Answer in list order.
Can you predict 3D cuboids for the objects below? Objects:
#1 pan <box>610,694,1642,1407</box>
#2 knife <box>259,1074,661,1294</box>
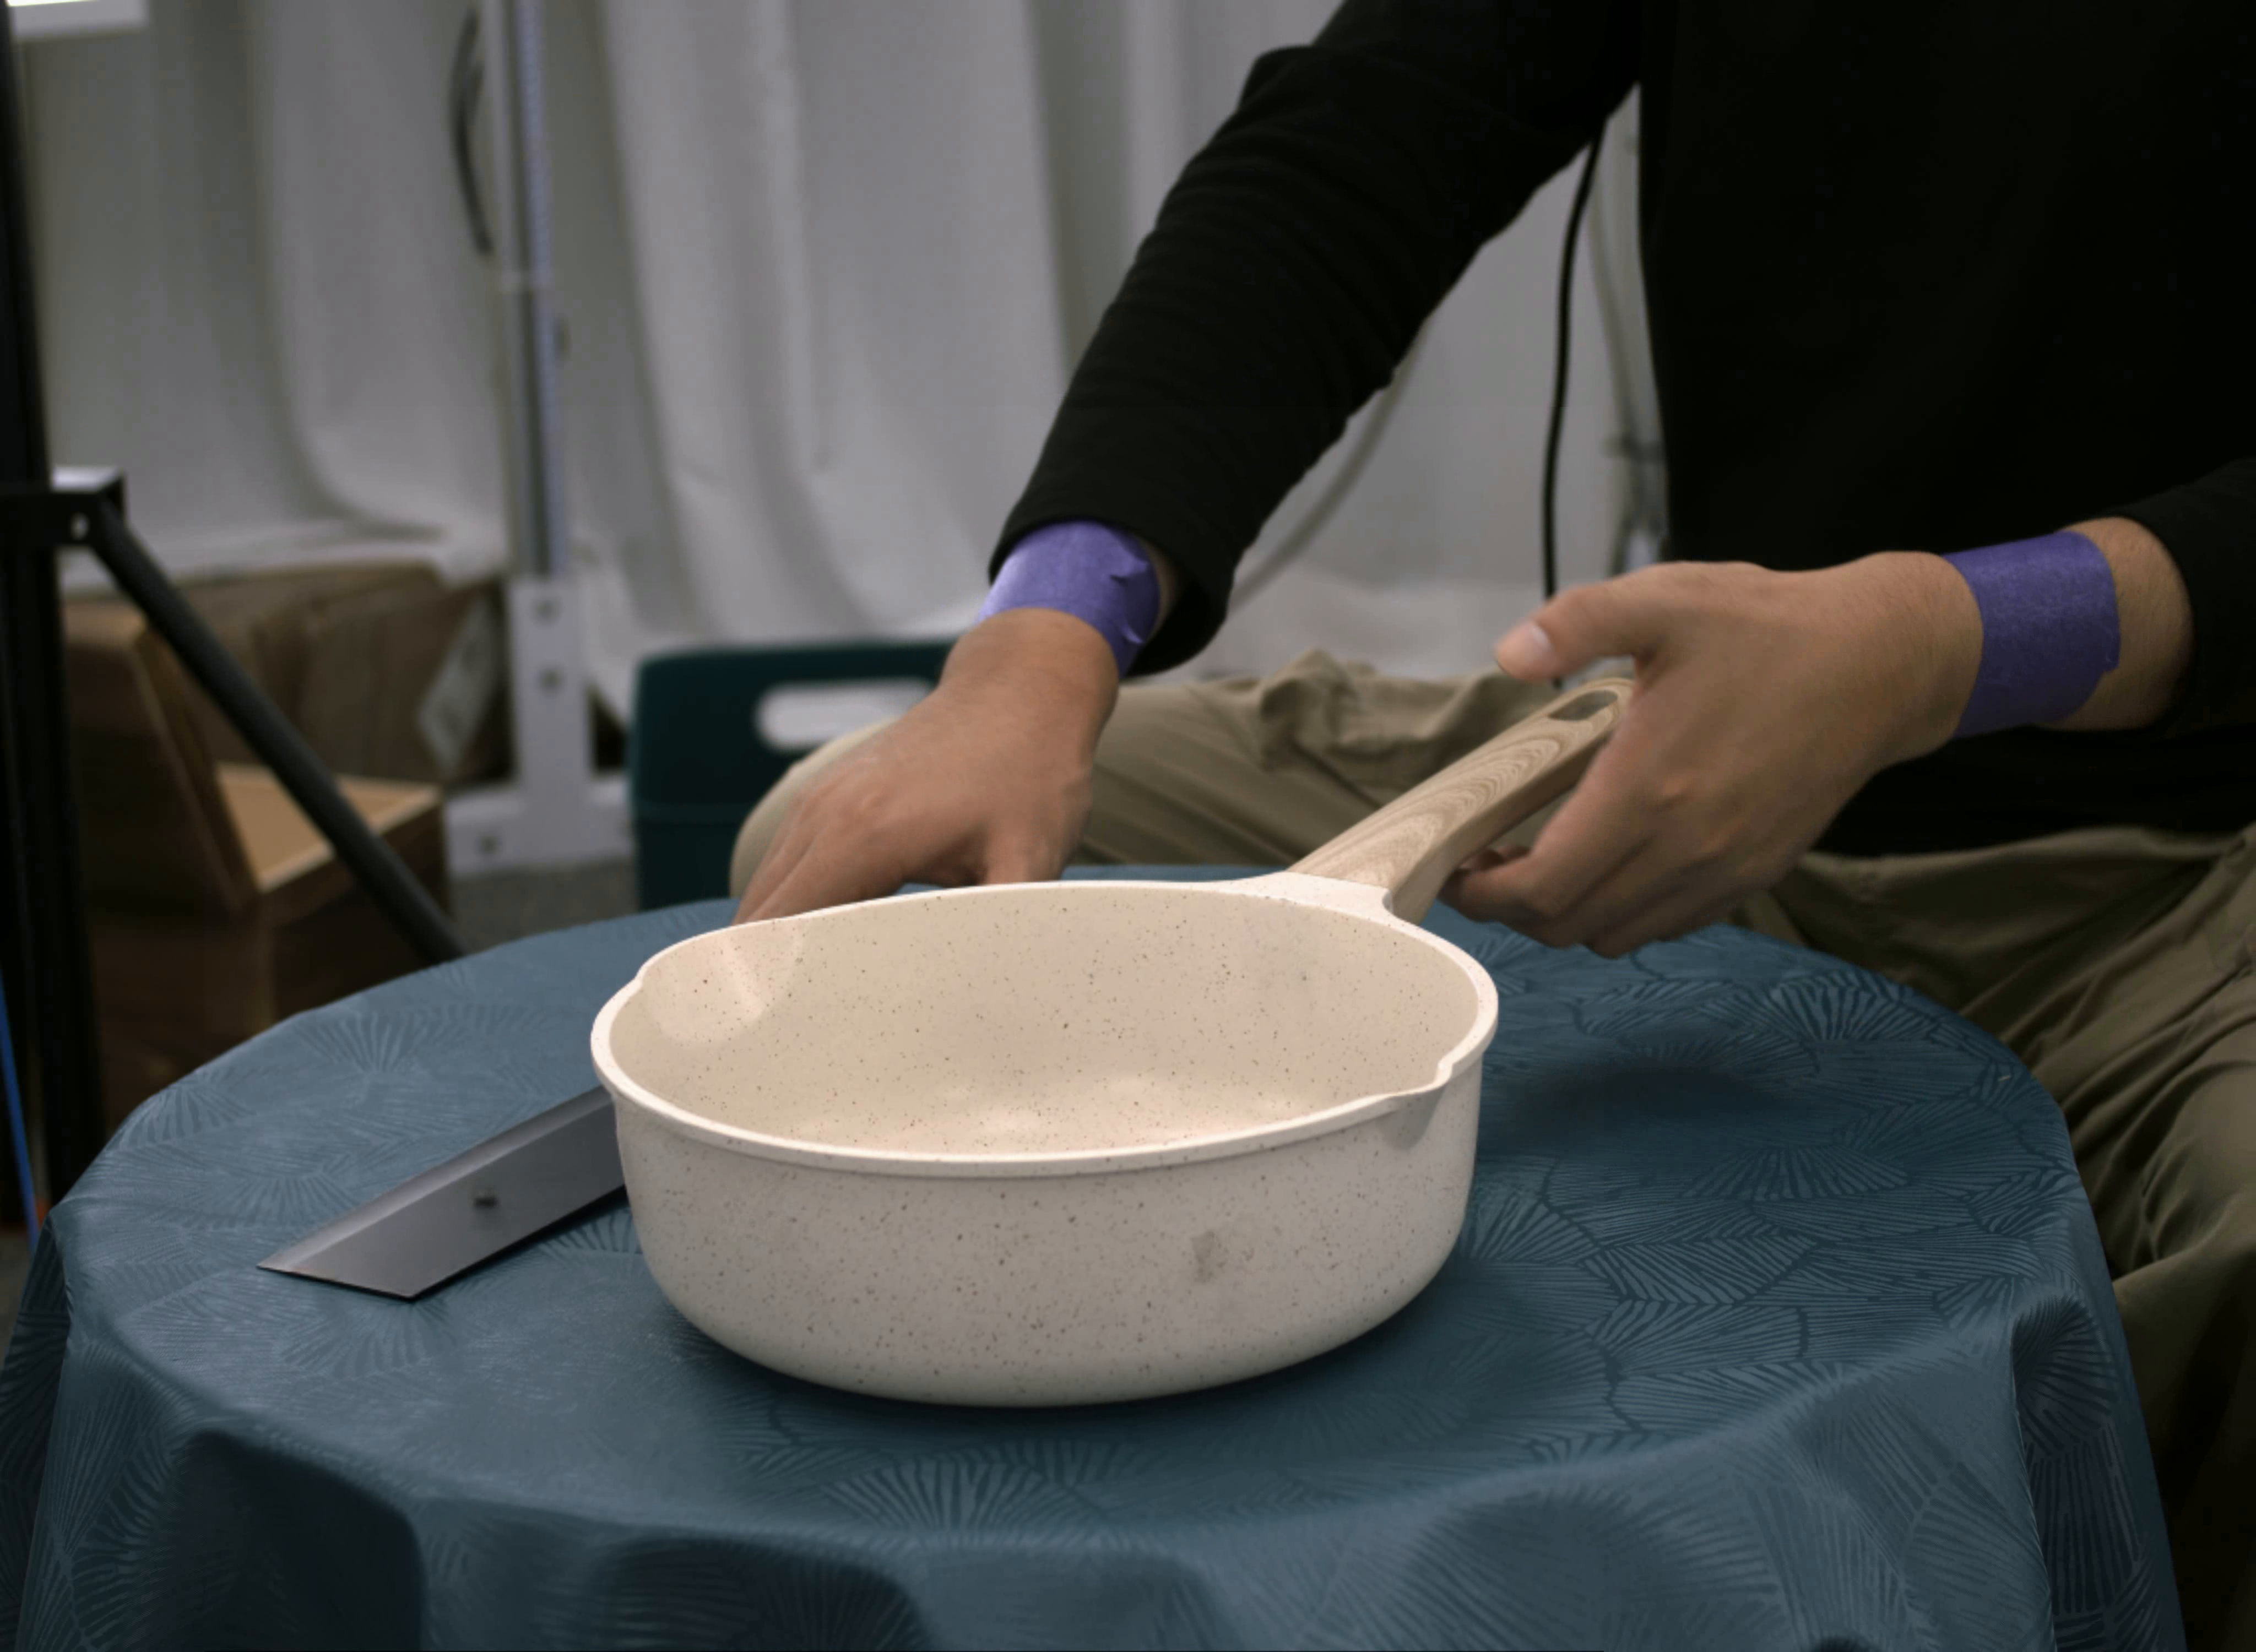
[{"bbox_3d":[0.037,0.060,1.538,0.269,0.102,0.426,7,18,36],"label":"pan"},{"bbox_3d":[-0.140,0.088,1.624,0.082,0.021,0.296,10,22,39],"label":"knife"}]
